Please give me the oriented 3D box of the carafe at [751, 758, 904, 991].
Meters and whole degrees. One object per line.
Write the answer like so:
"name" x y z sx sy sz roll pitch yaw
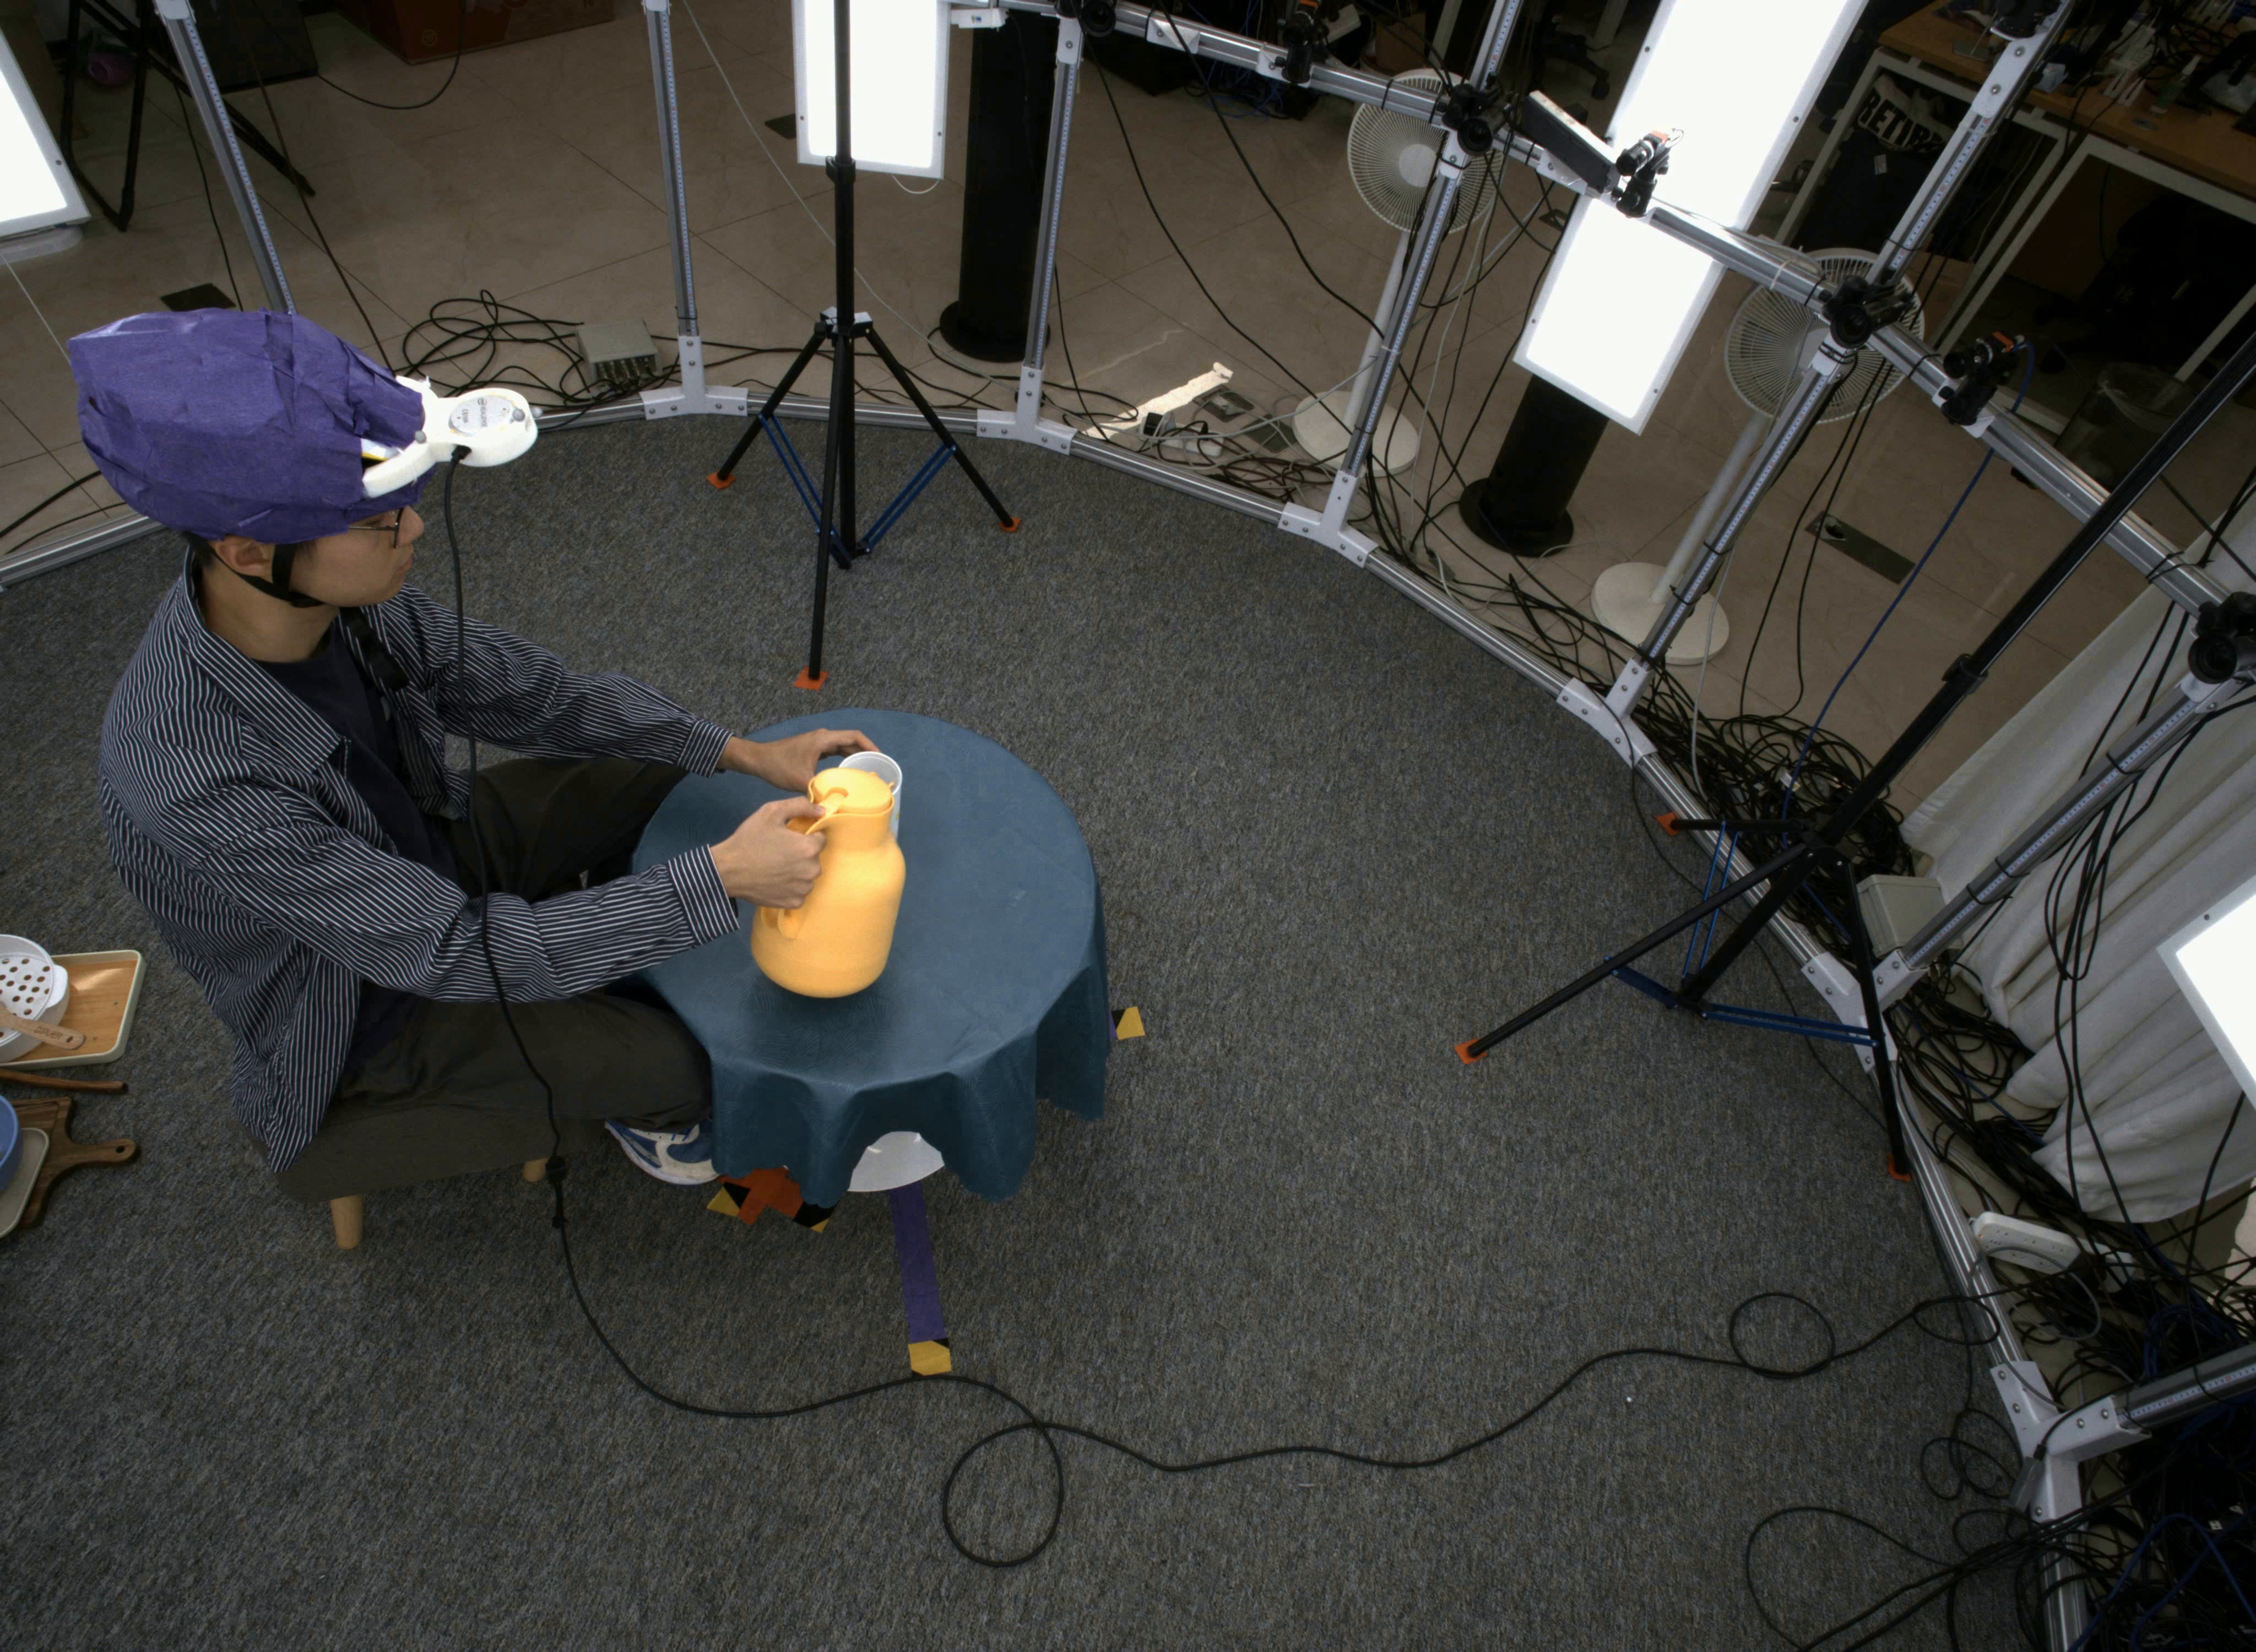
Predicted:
"carafe" -0.354 0.057 1.501 0.160 0.266 0.202 24 28 13

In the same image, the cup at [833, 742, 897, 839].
"cup" -0.337 -0.038 1.678 0.081 0.128 0.080 5 54 -5
